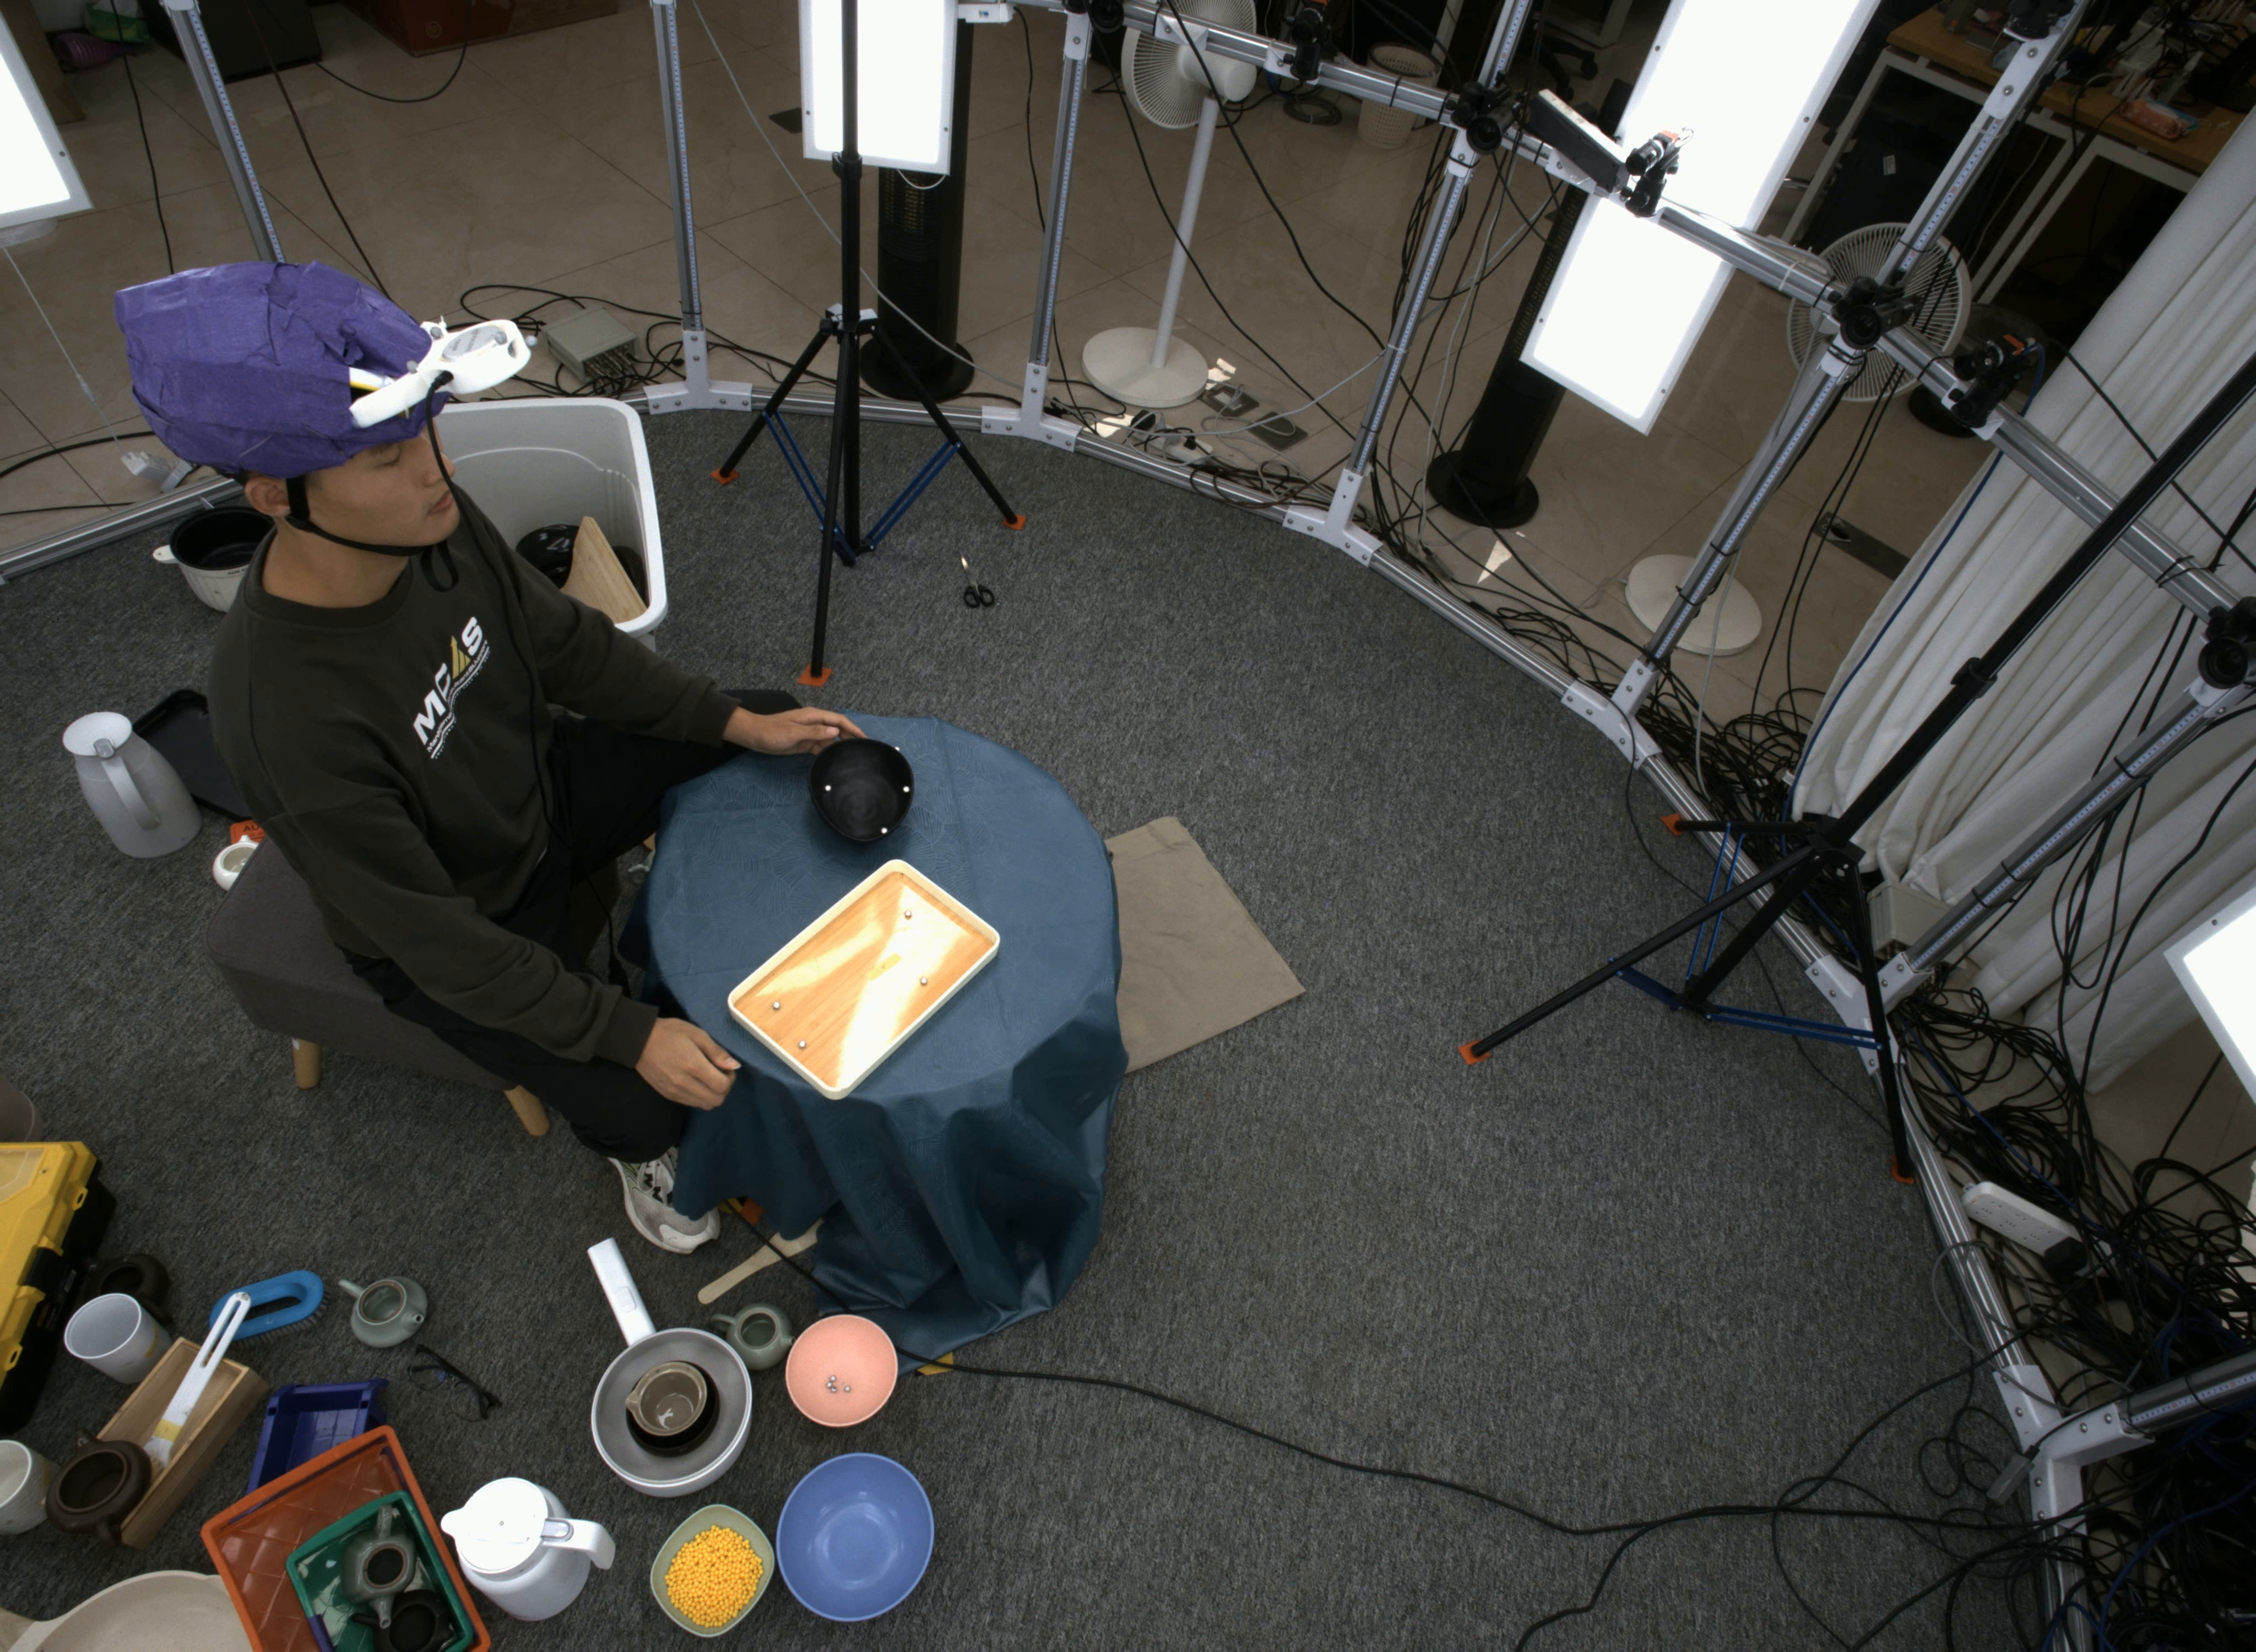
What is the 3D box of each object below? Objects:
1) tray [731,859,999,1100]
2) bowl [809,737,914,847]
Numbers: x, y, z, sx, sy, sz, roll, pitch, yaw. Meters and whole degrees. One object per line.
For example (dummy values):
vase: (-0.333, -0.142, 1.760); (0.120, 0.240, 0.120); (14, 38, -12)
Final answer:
tray: (-0.320, 0.180, 1.608); (0.188, 0.028, 0.300); (36, 54, 14)
bowl: (-0.355, -0.037, 1.741); (0.137, 0.068, 0.166); (-7, 57, -16)
